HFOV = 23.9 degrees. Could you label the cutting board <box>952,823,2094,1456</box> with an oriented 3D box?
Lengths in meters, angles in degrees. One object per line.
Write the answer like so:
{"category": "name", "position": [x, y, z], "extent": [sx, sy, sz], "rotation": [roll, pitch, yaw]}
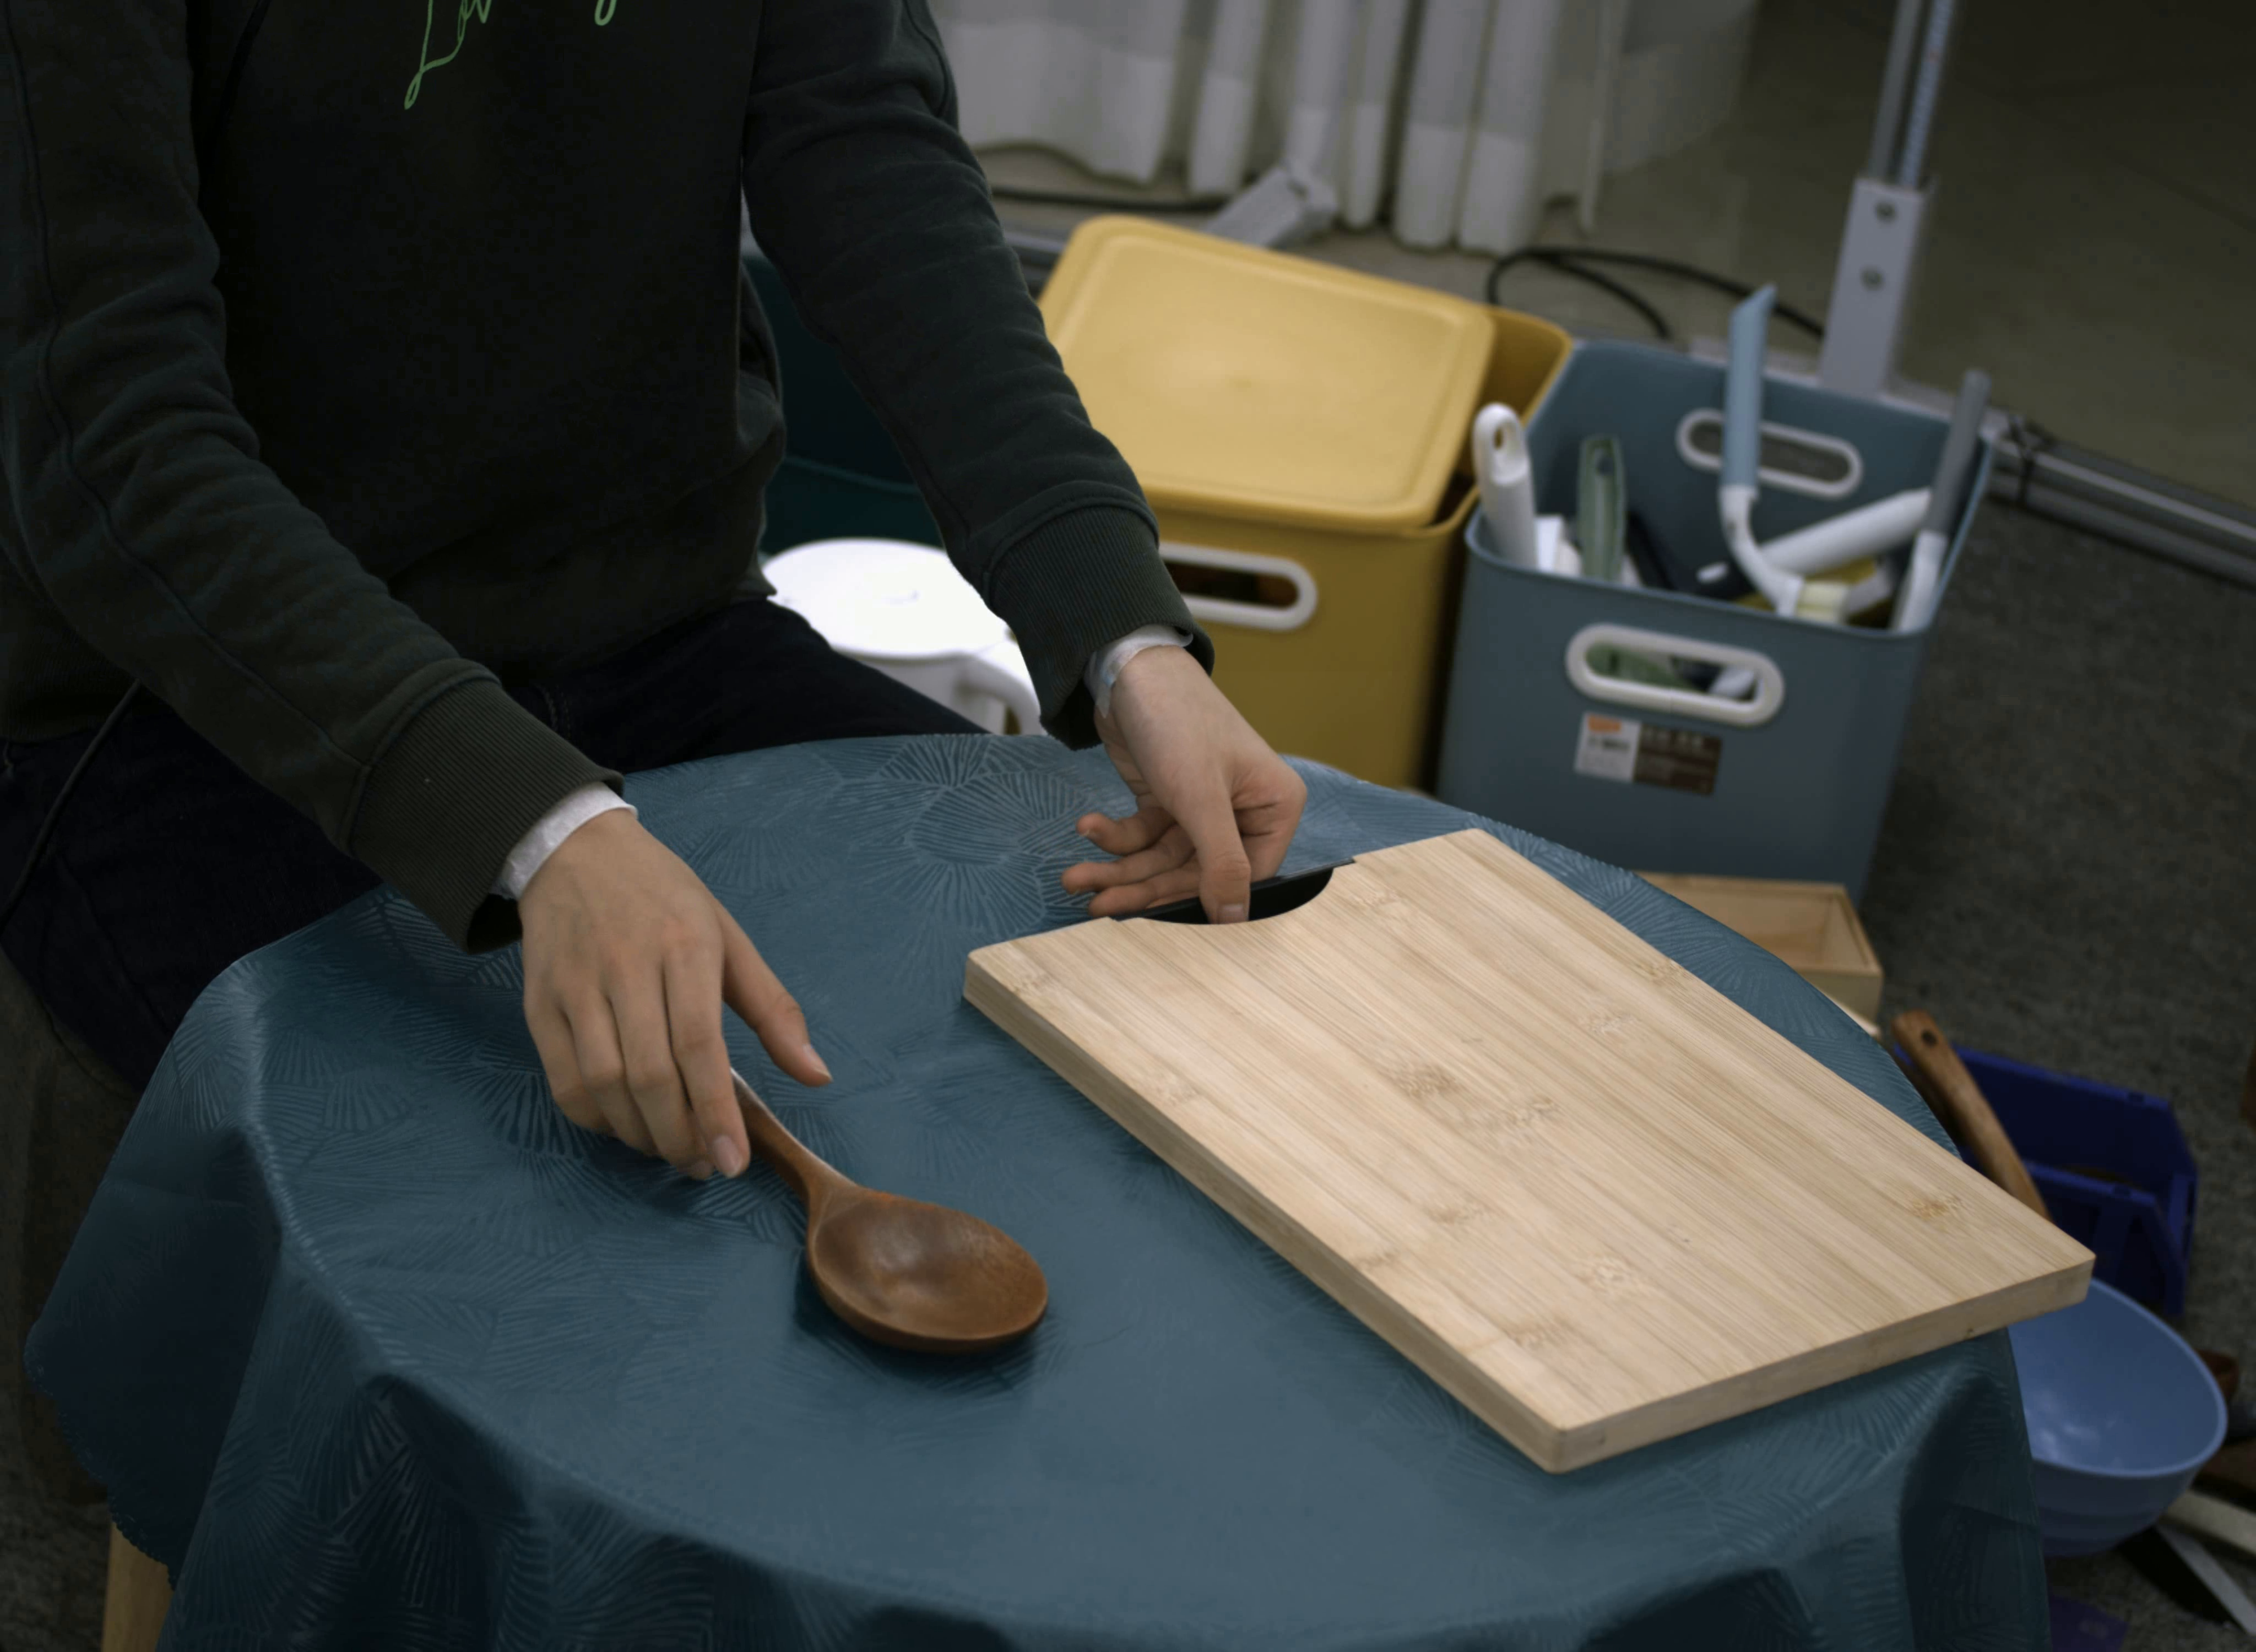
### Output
{"category": "cutting board", "position": [0.131, 0.101, 1.857], "extent": [0.249, 0.023, 0.352], "rotation": [-13, 32, -34]}

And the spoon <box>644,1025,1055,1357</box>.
{"category": "spoon", "position": [-0.100, 0.121, 1.763], "extent": [0.075, 0.017, 0.218], "rotation": [-14, 34, -32]}
